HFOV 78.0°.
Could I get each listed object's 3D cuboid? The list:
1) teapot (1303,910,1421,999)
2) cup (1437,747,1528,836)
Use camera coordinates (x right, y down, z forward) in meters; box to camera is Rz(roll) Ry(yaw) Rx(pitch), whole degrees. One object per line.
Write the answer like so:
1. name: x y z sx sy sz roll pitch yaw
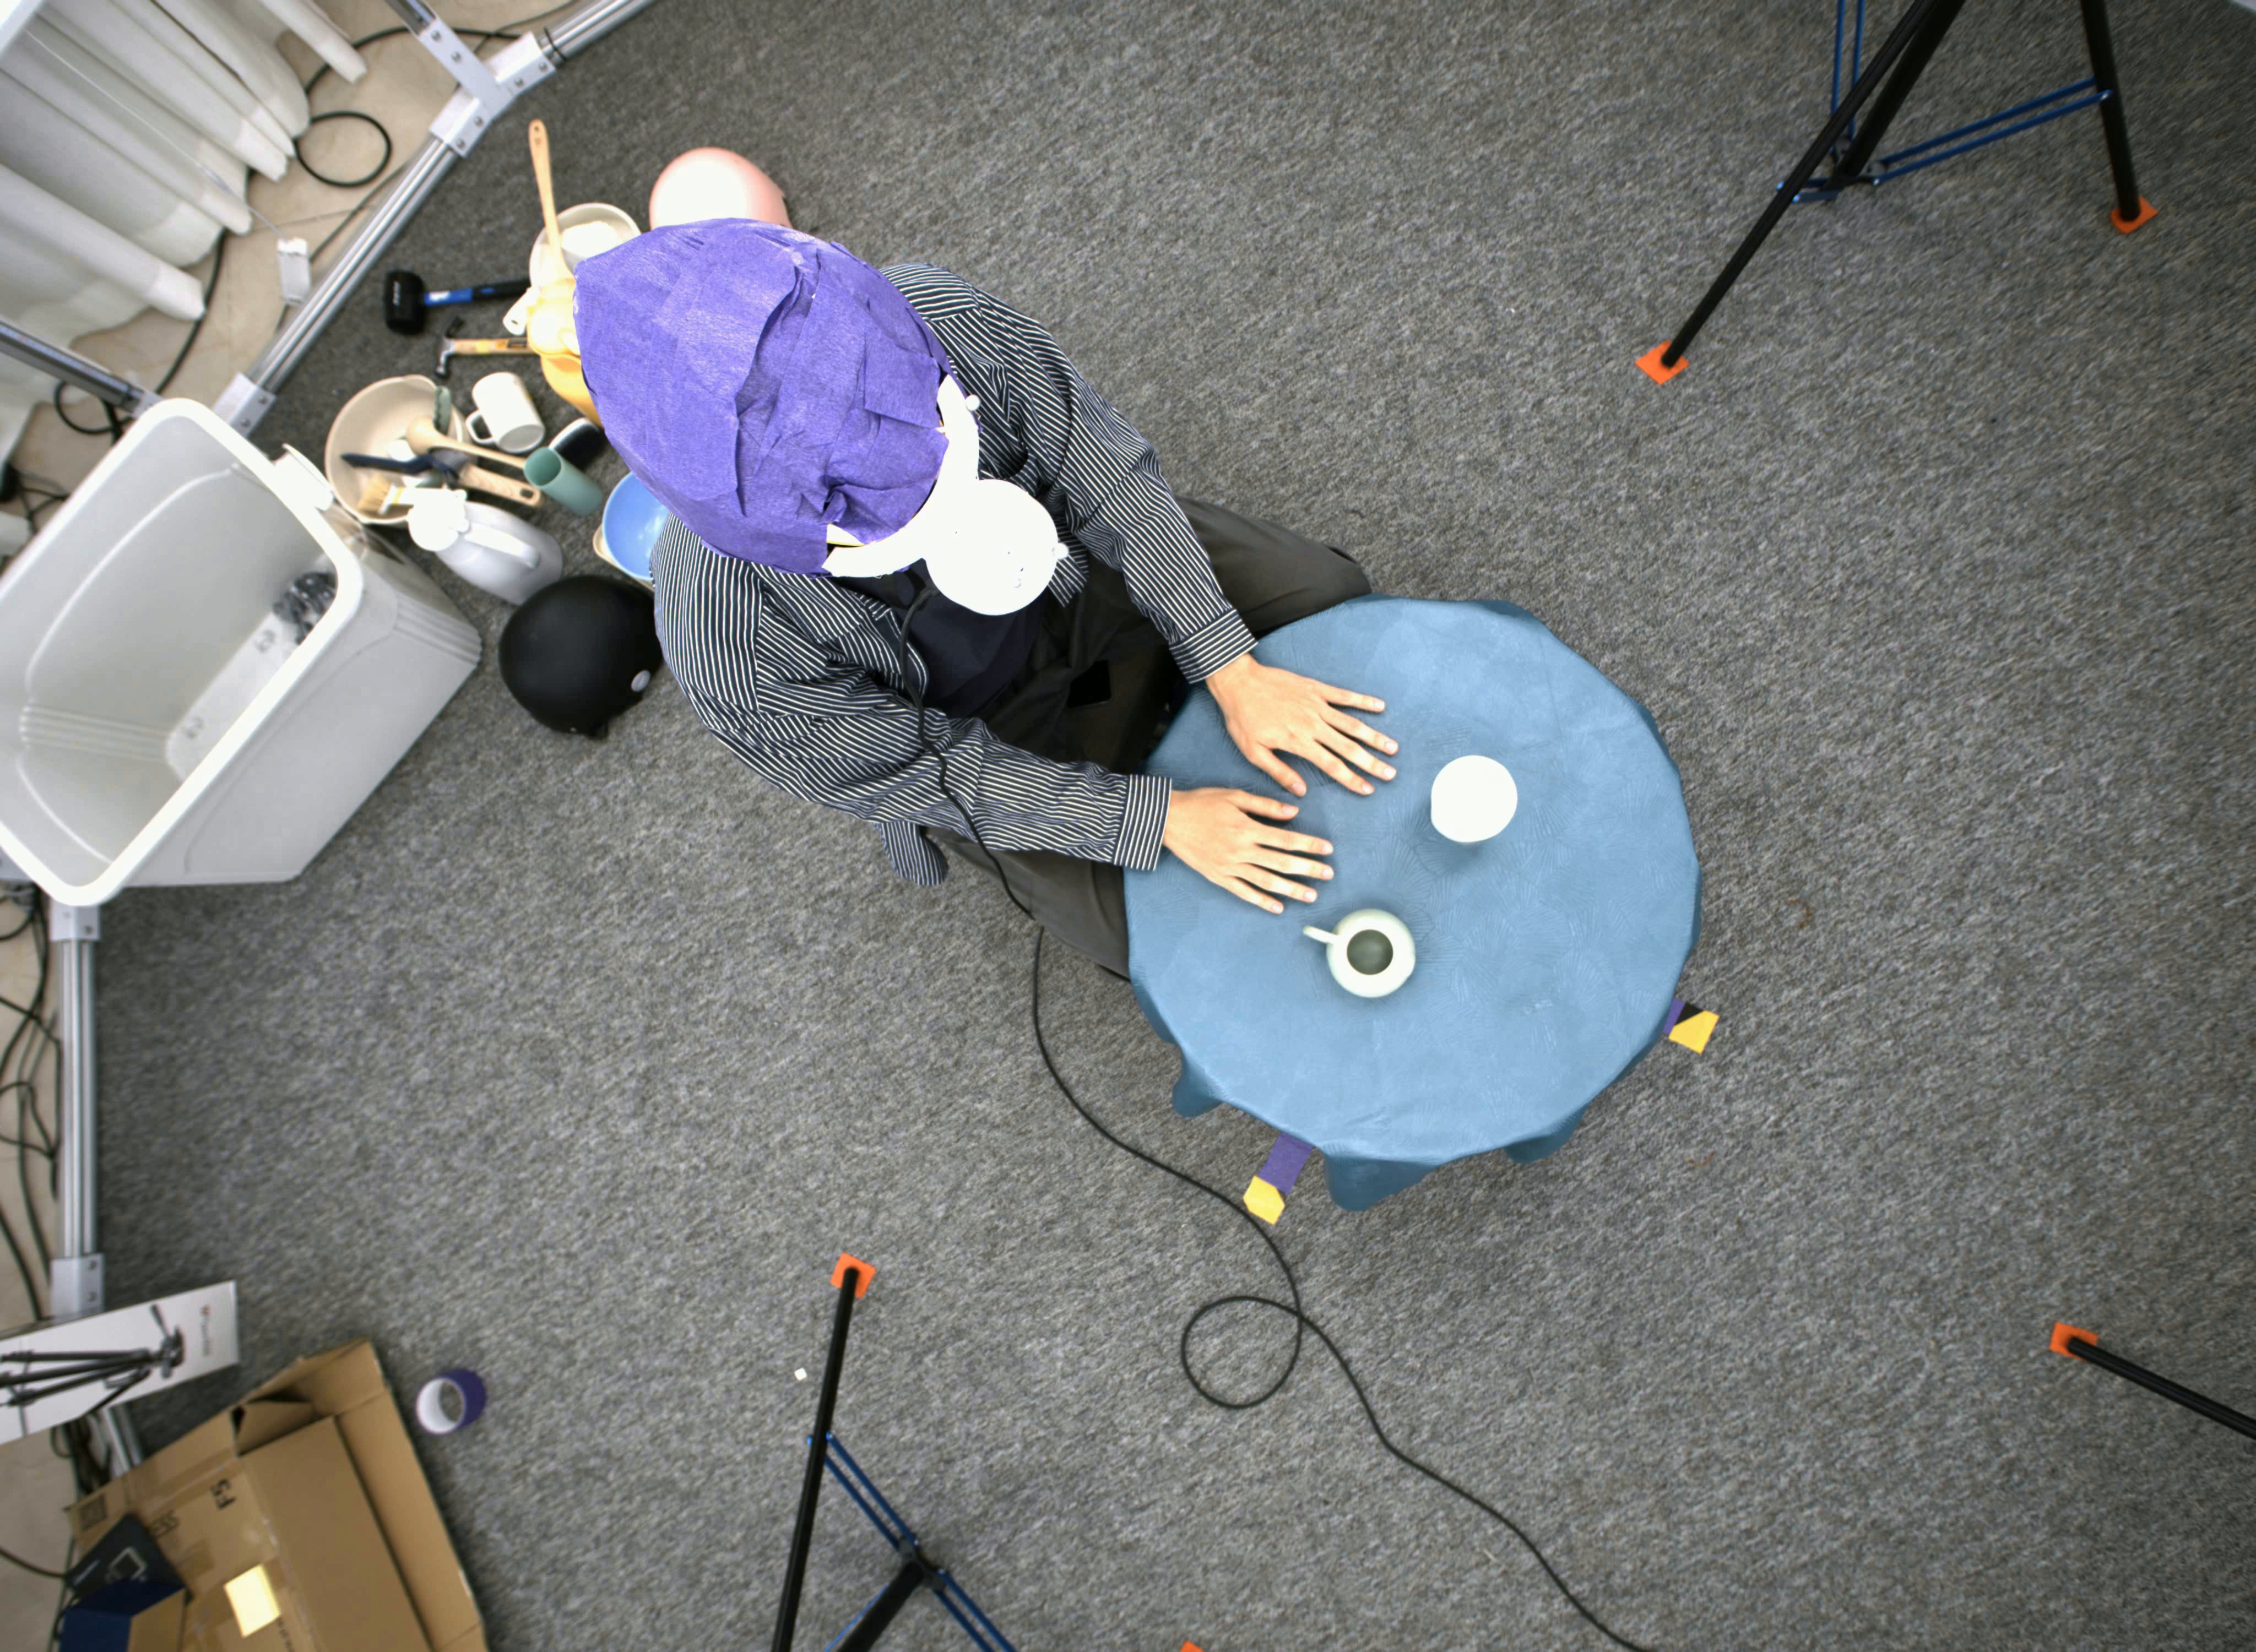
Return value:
1. teapot: 0.239 0.127 1.422 0.128 0.061 0.092 23 93 11
2. cup: 0.351 -0.033 1.372 0.082 0.125 0.081 -1 86 9
